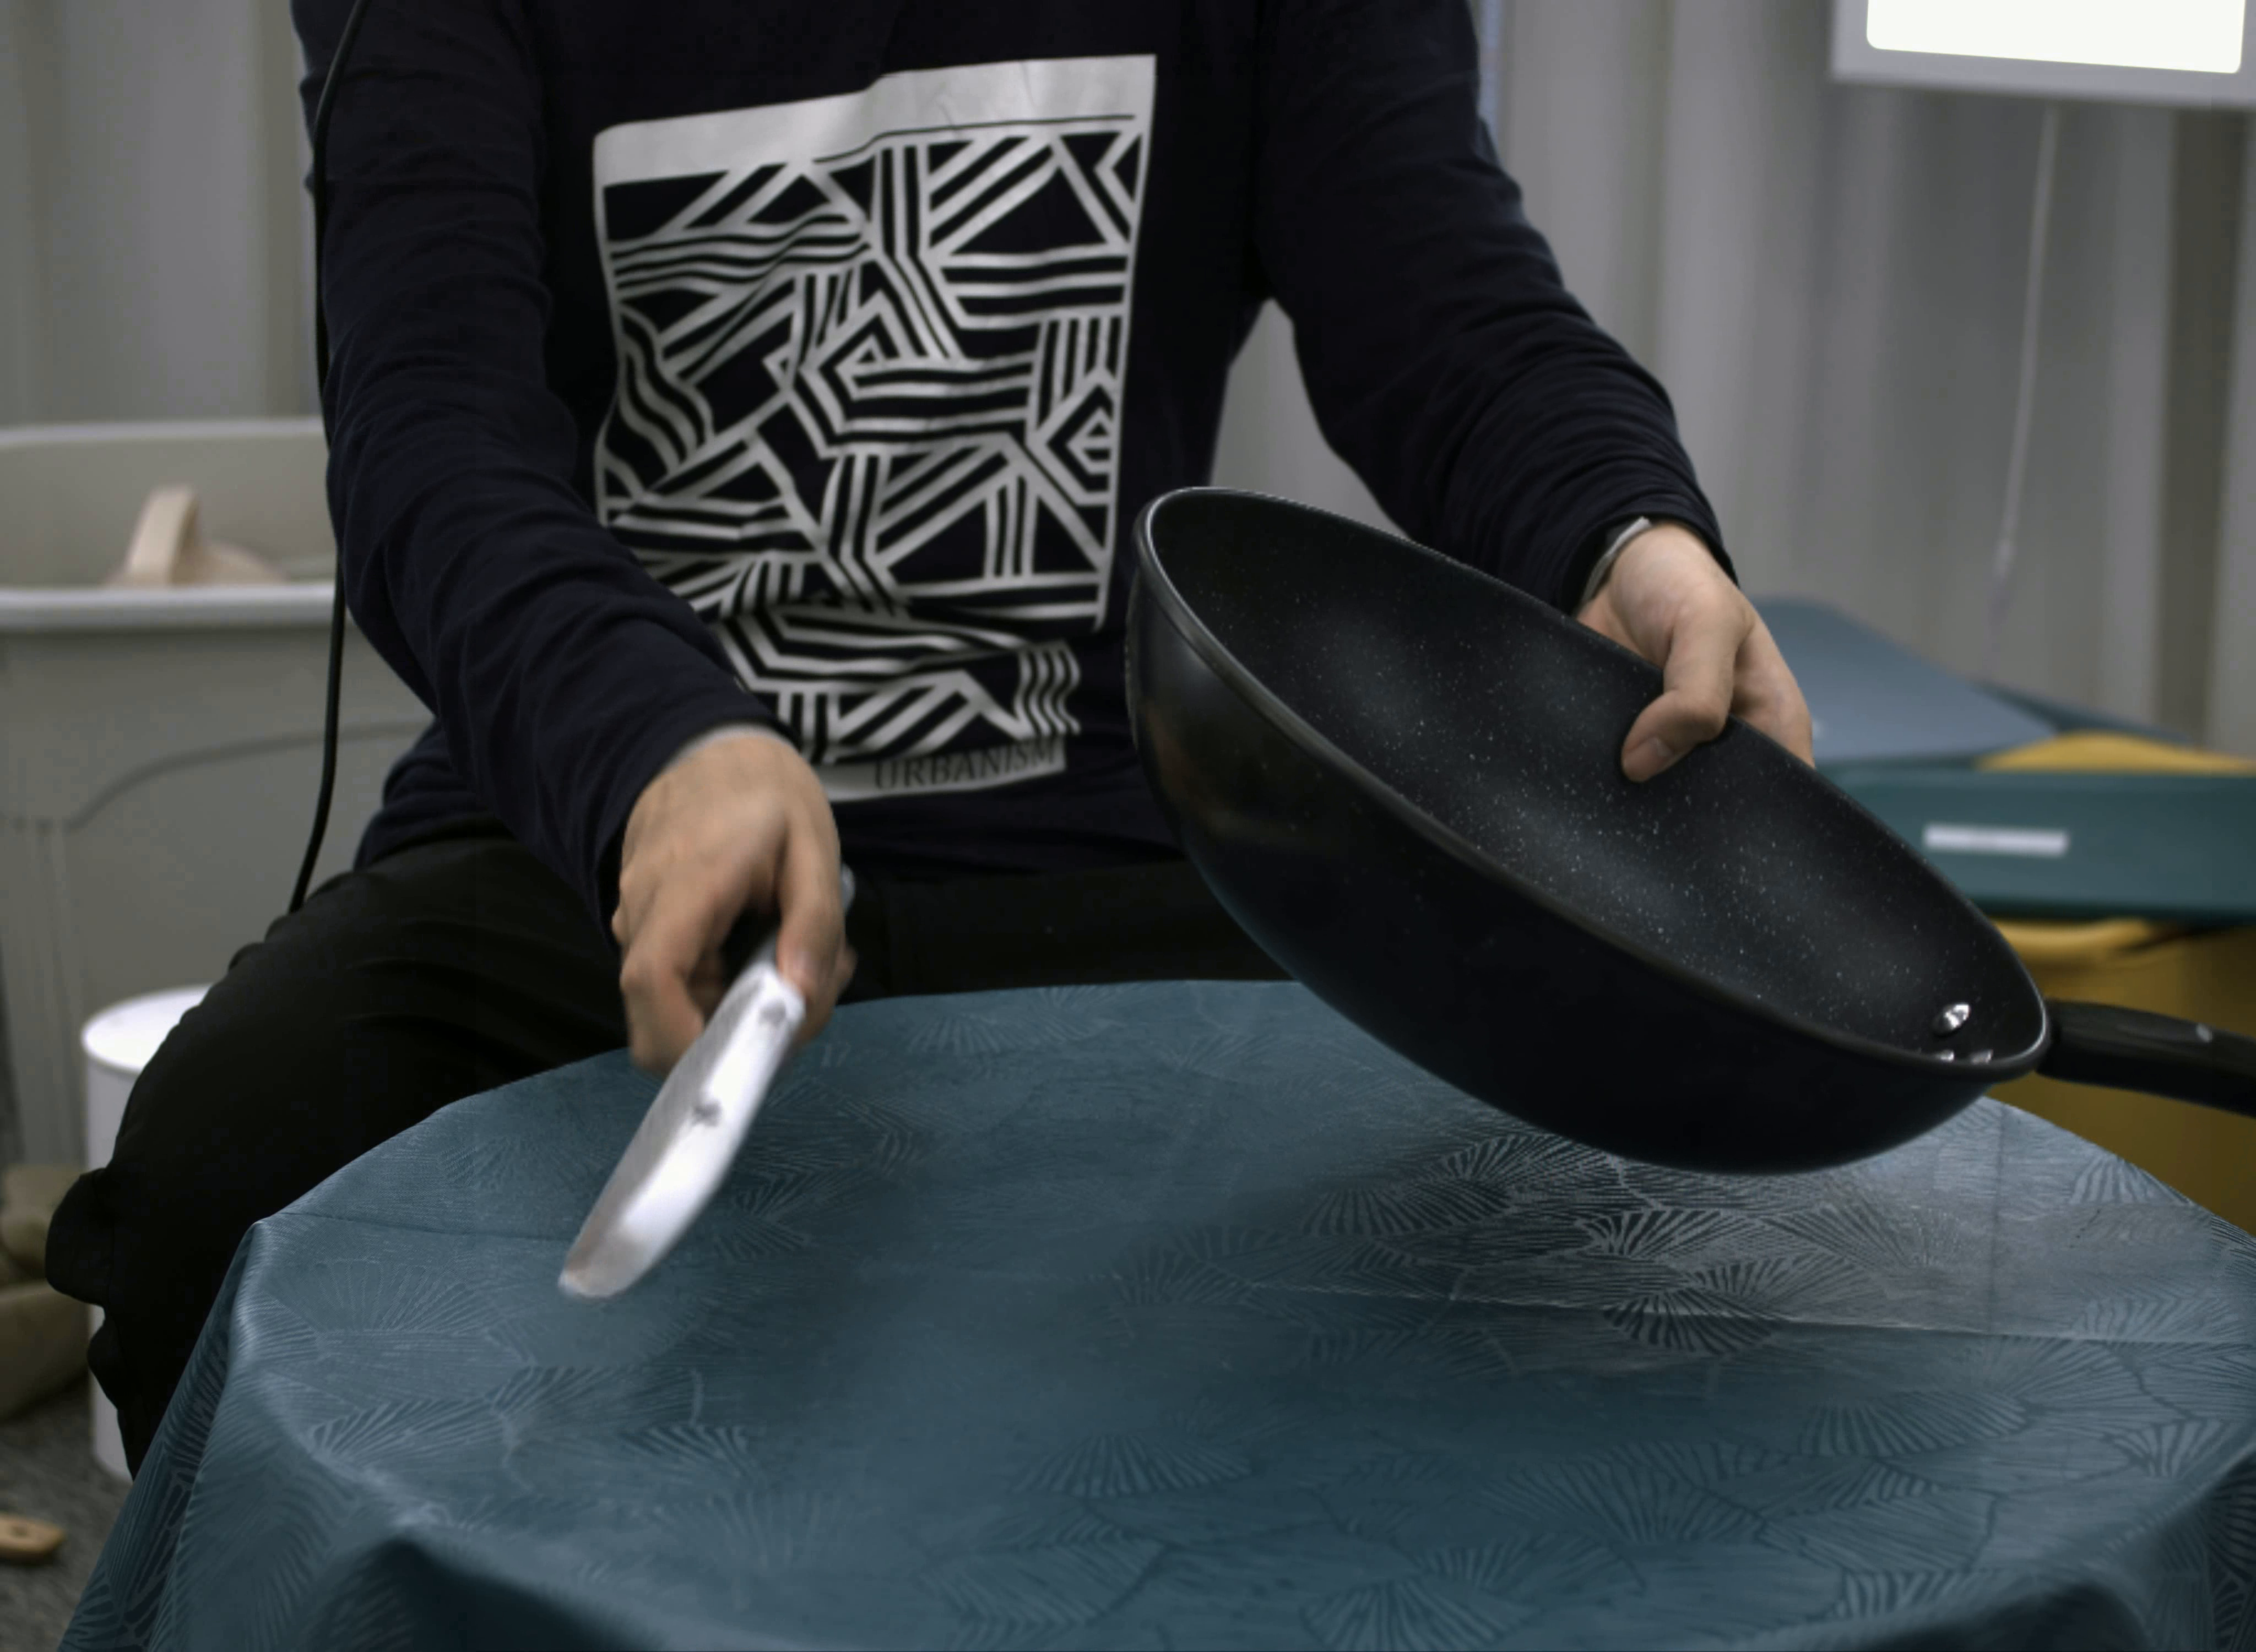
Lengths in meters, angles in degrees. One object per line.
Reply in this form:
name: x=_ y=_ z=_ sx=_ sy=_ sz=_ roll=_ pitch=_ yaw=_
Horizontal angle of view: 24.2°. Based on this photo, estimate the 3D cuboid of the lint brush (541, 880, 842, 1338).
lint brush: x=-0.120 y=0.073 z=1.536 sx=0.021 sy=0.060 sz=0.307 roll=40 pitch=18 yaw=-7

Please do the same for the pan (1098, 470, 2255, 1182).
pan: x=0.190 y=0.042 z=1.566 sx=0.479 sy=0.112 sz=0.308 roll=27 pitch=19 yaw=-13
